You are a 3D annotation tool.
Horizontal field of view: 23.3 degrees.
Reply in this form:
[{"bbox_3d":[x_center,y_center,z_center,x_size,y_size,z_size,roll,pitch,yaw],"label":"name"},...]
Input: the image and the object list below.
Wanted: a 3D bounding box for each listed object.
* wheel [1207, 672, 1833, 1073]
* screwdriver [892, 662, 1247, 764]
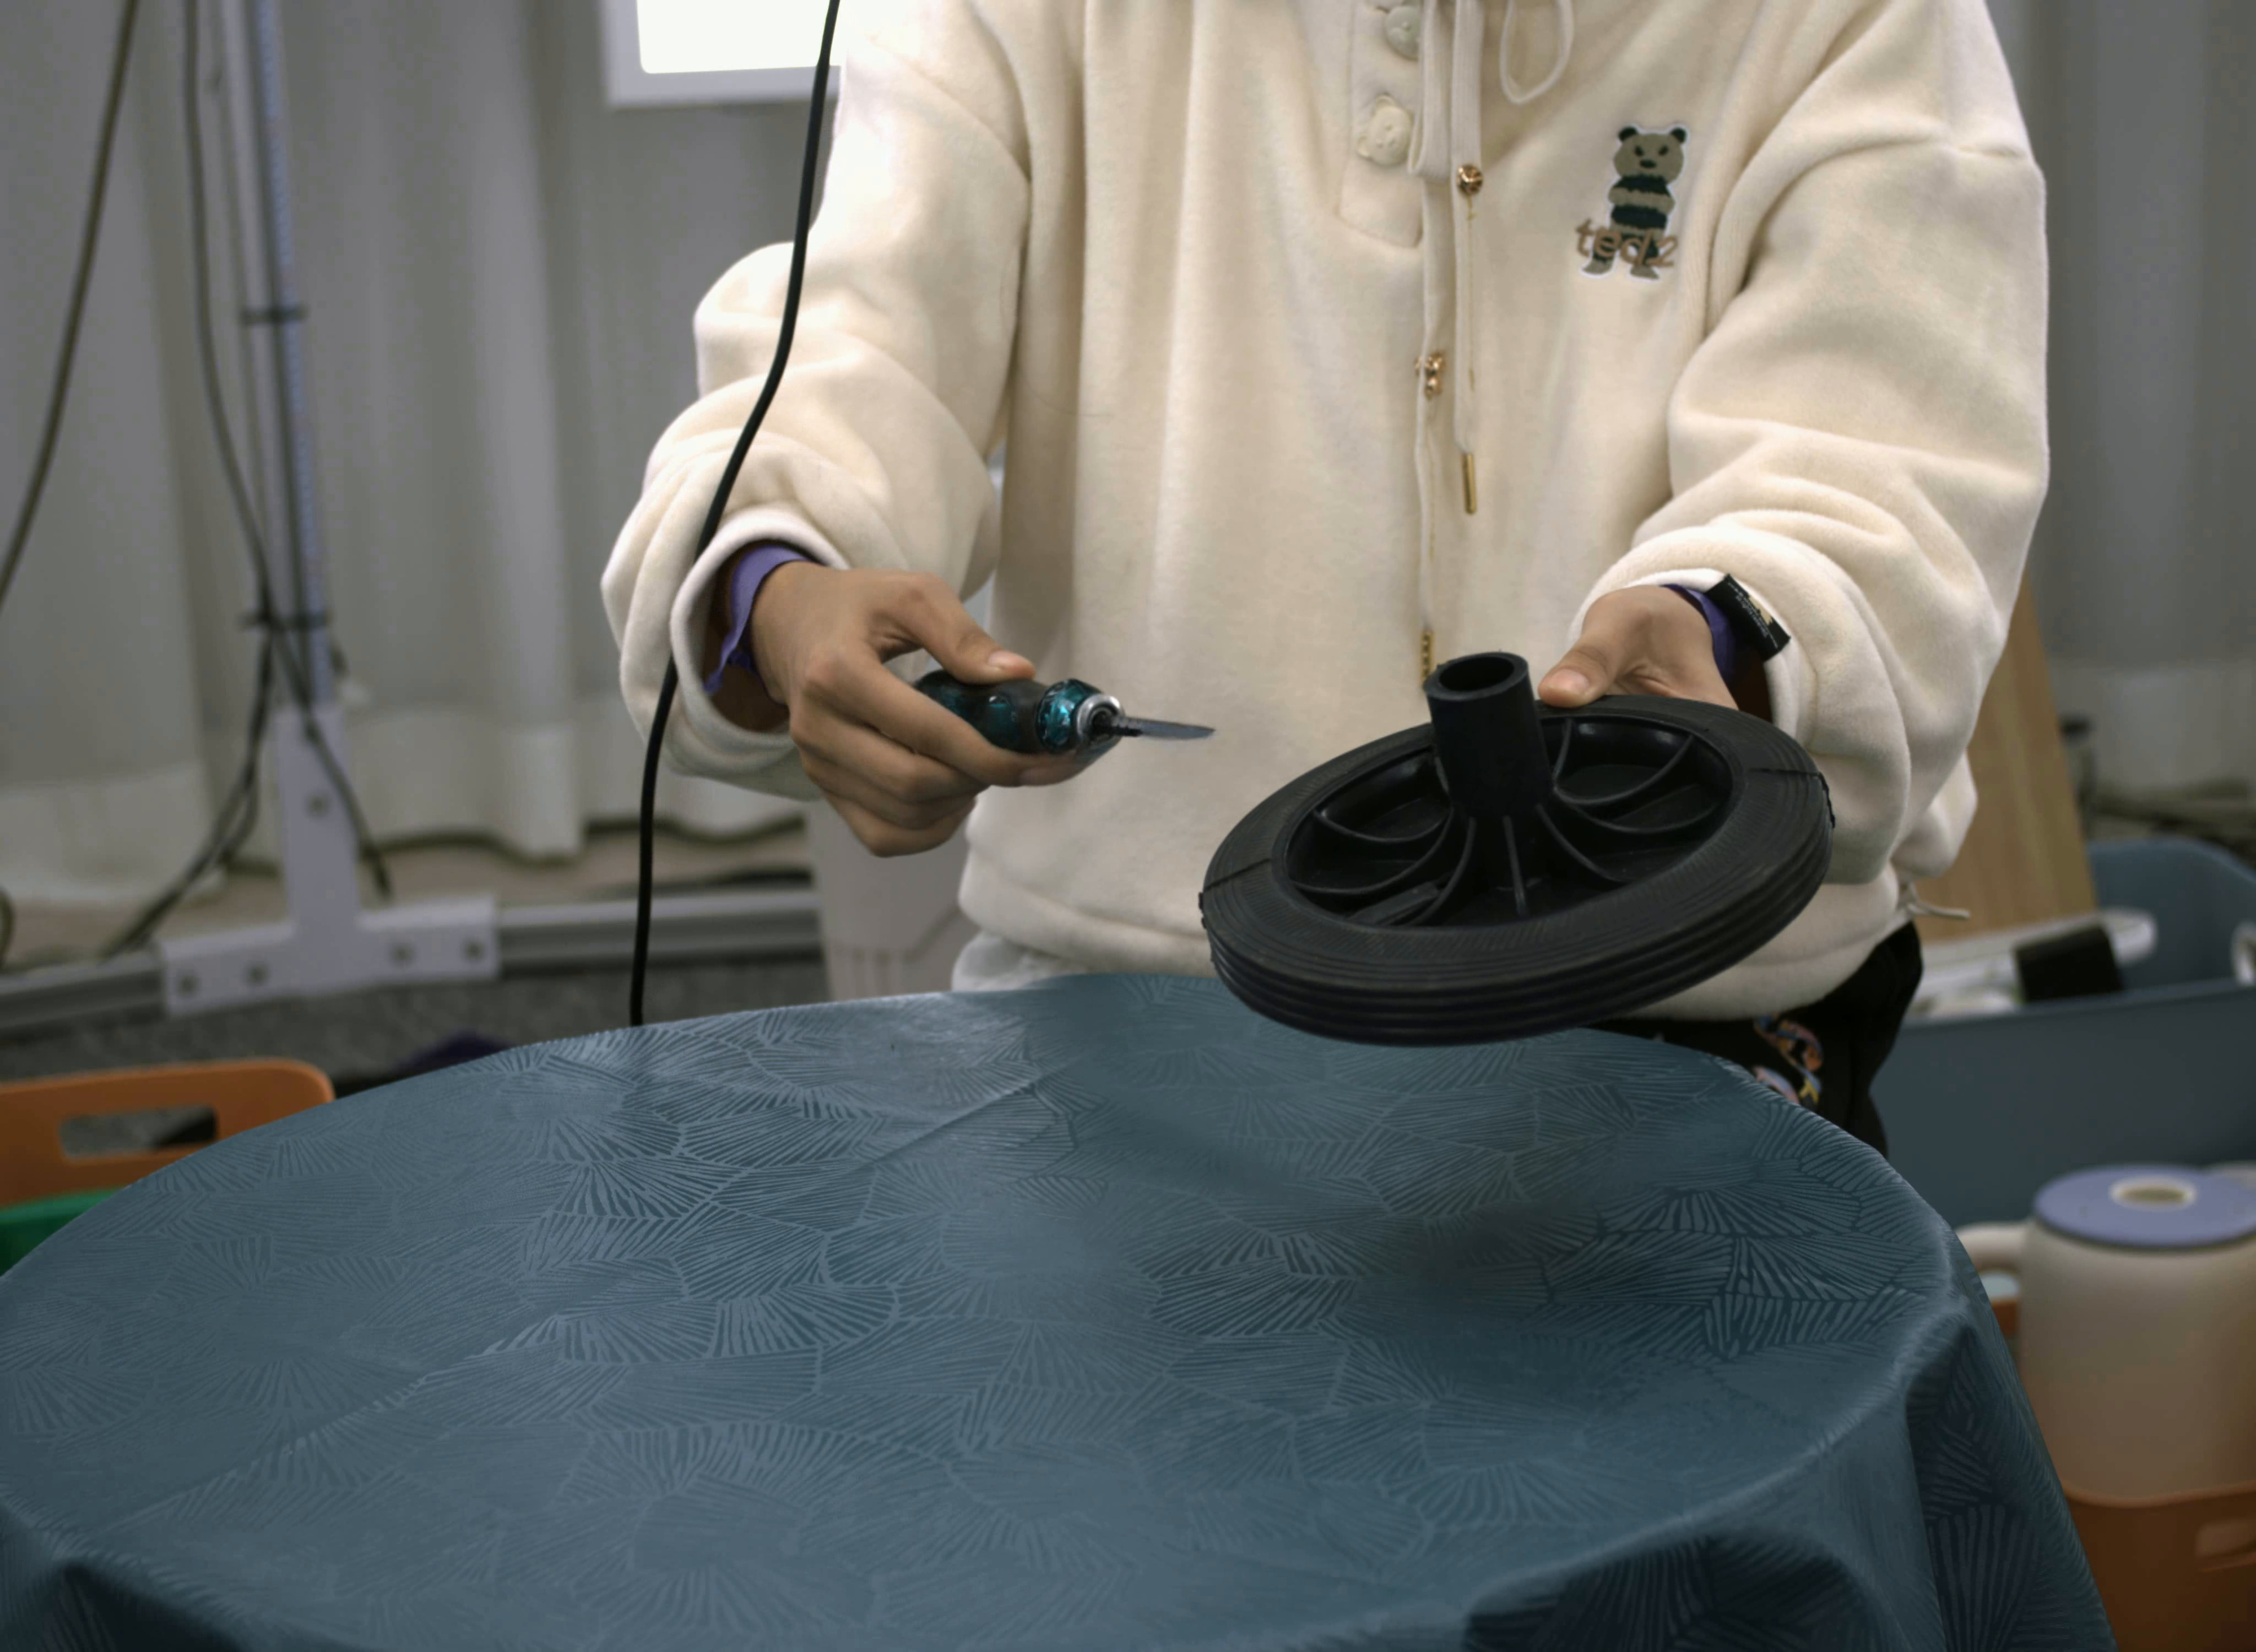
[{"bbox_3d":[0.109,-0.003,1.608,0.188,0.078,0.191,7,34,38],"label":"wheel"},{"bbox_3d":[-0.017,-0.032,1.750,0.033,0.033,0.191,-12,11,-32],"label":"screwdriver"}]
